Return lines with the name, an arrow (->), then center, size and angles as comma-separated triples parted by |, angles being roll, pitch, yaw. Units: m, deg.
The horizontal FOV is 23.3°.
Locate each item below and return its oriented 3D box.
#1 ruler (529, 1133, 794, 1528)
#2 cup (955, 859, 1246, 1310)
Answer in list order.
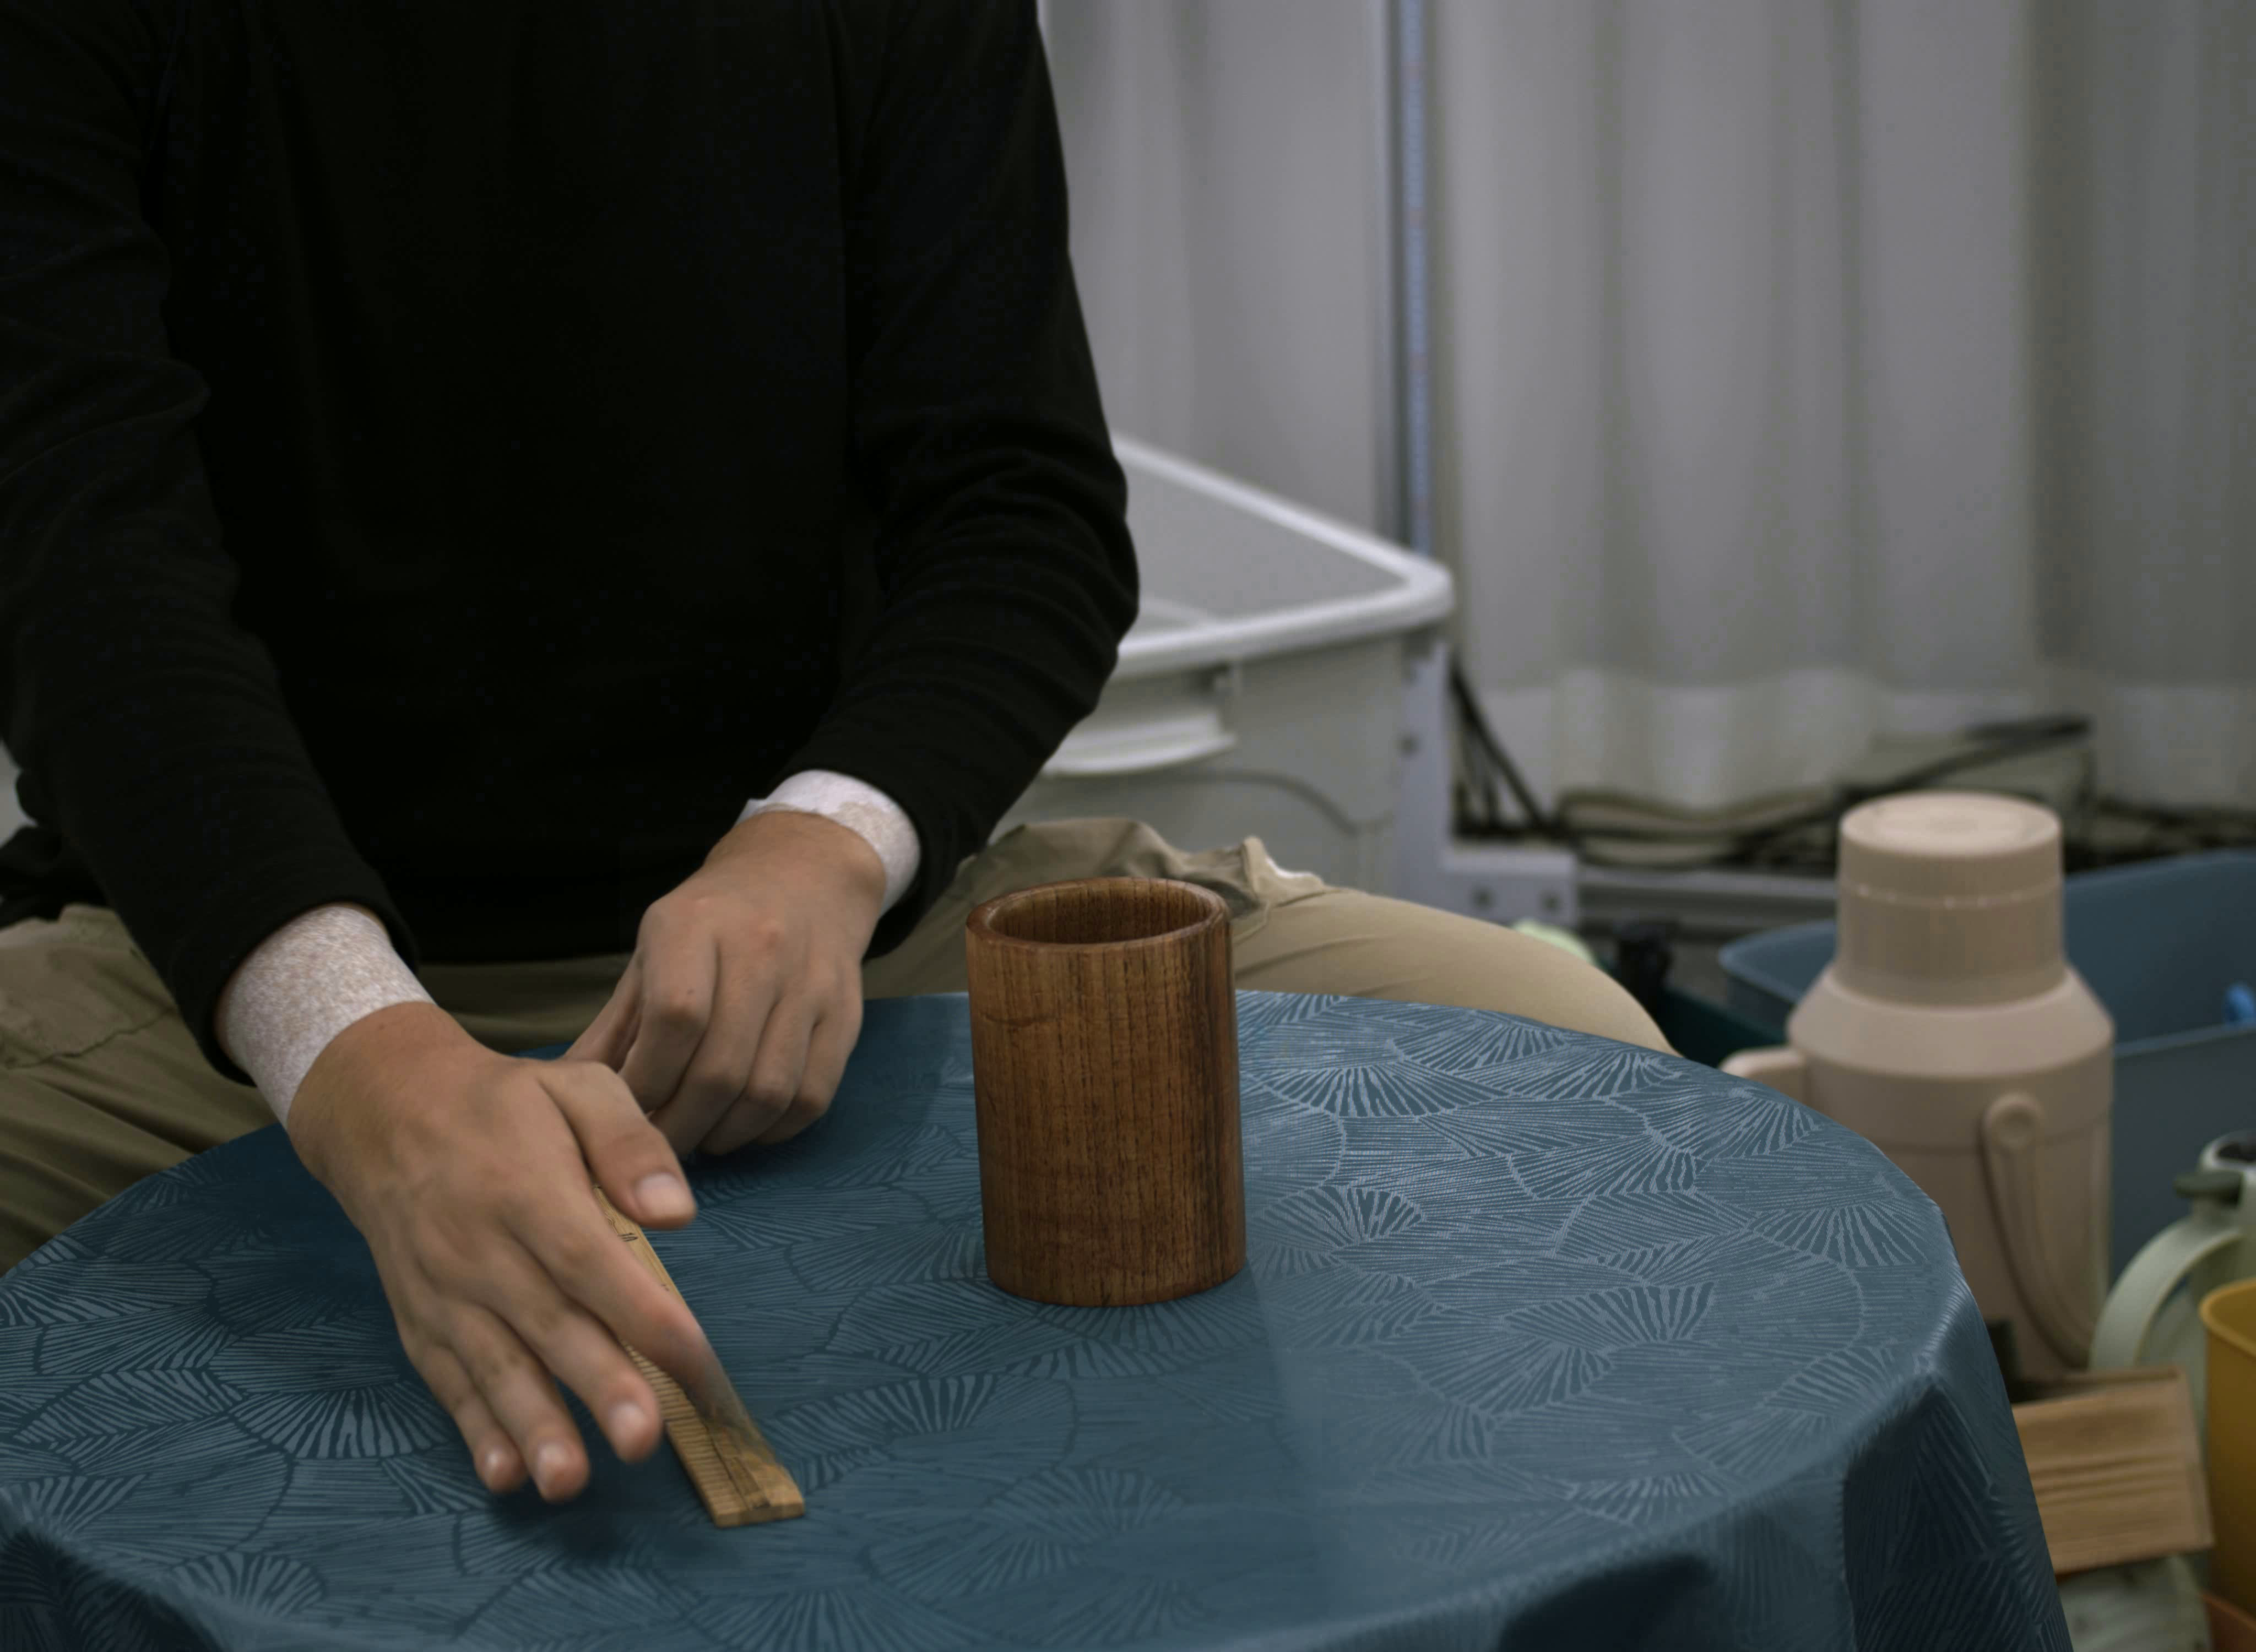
ruler -> -0.142, 0.142, 1.619 | 0.027, 0.022, 0.334 | 1, 14, -15
cup -> -0.007, 0.076, 1.634 | 0.087, 0.118, 0.088 | -2, 13, 0
